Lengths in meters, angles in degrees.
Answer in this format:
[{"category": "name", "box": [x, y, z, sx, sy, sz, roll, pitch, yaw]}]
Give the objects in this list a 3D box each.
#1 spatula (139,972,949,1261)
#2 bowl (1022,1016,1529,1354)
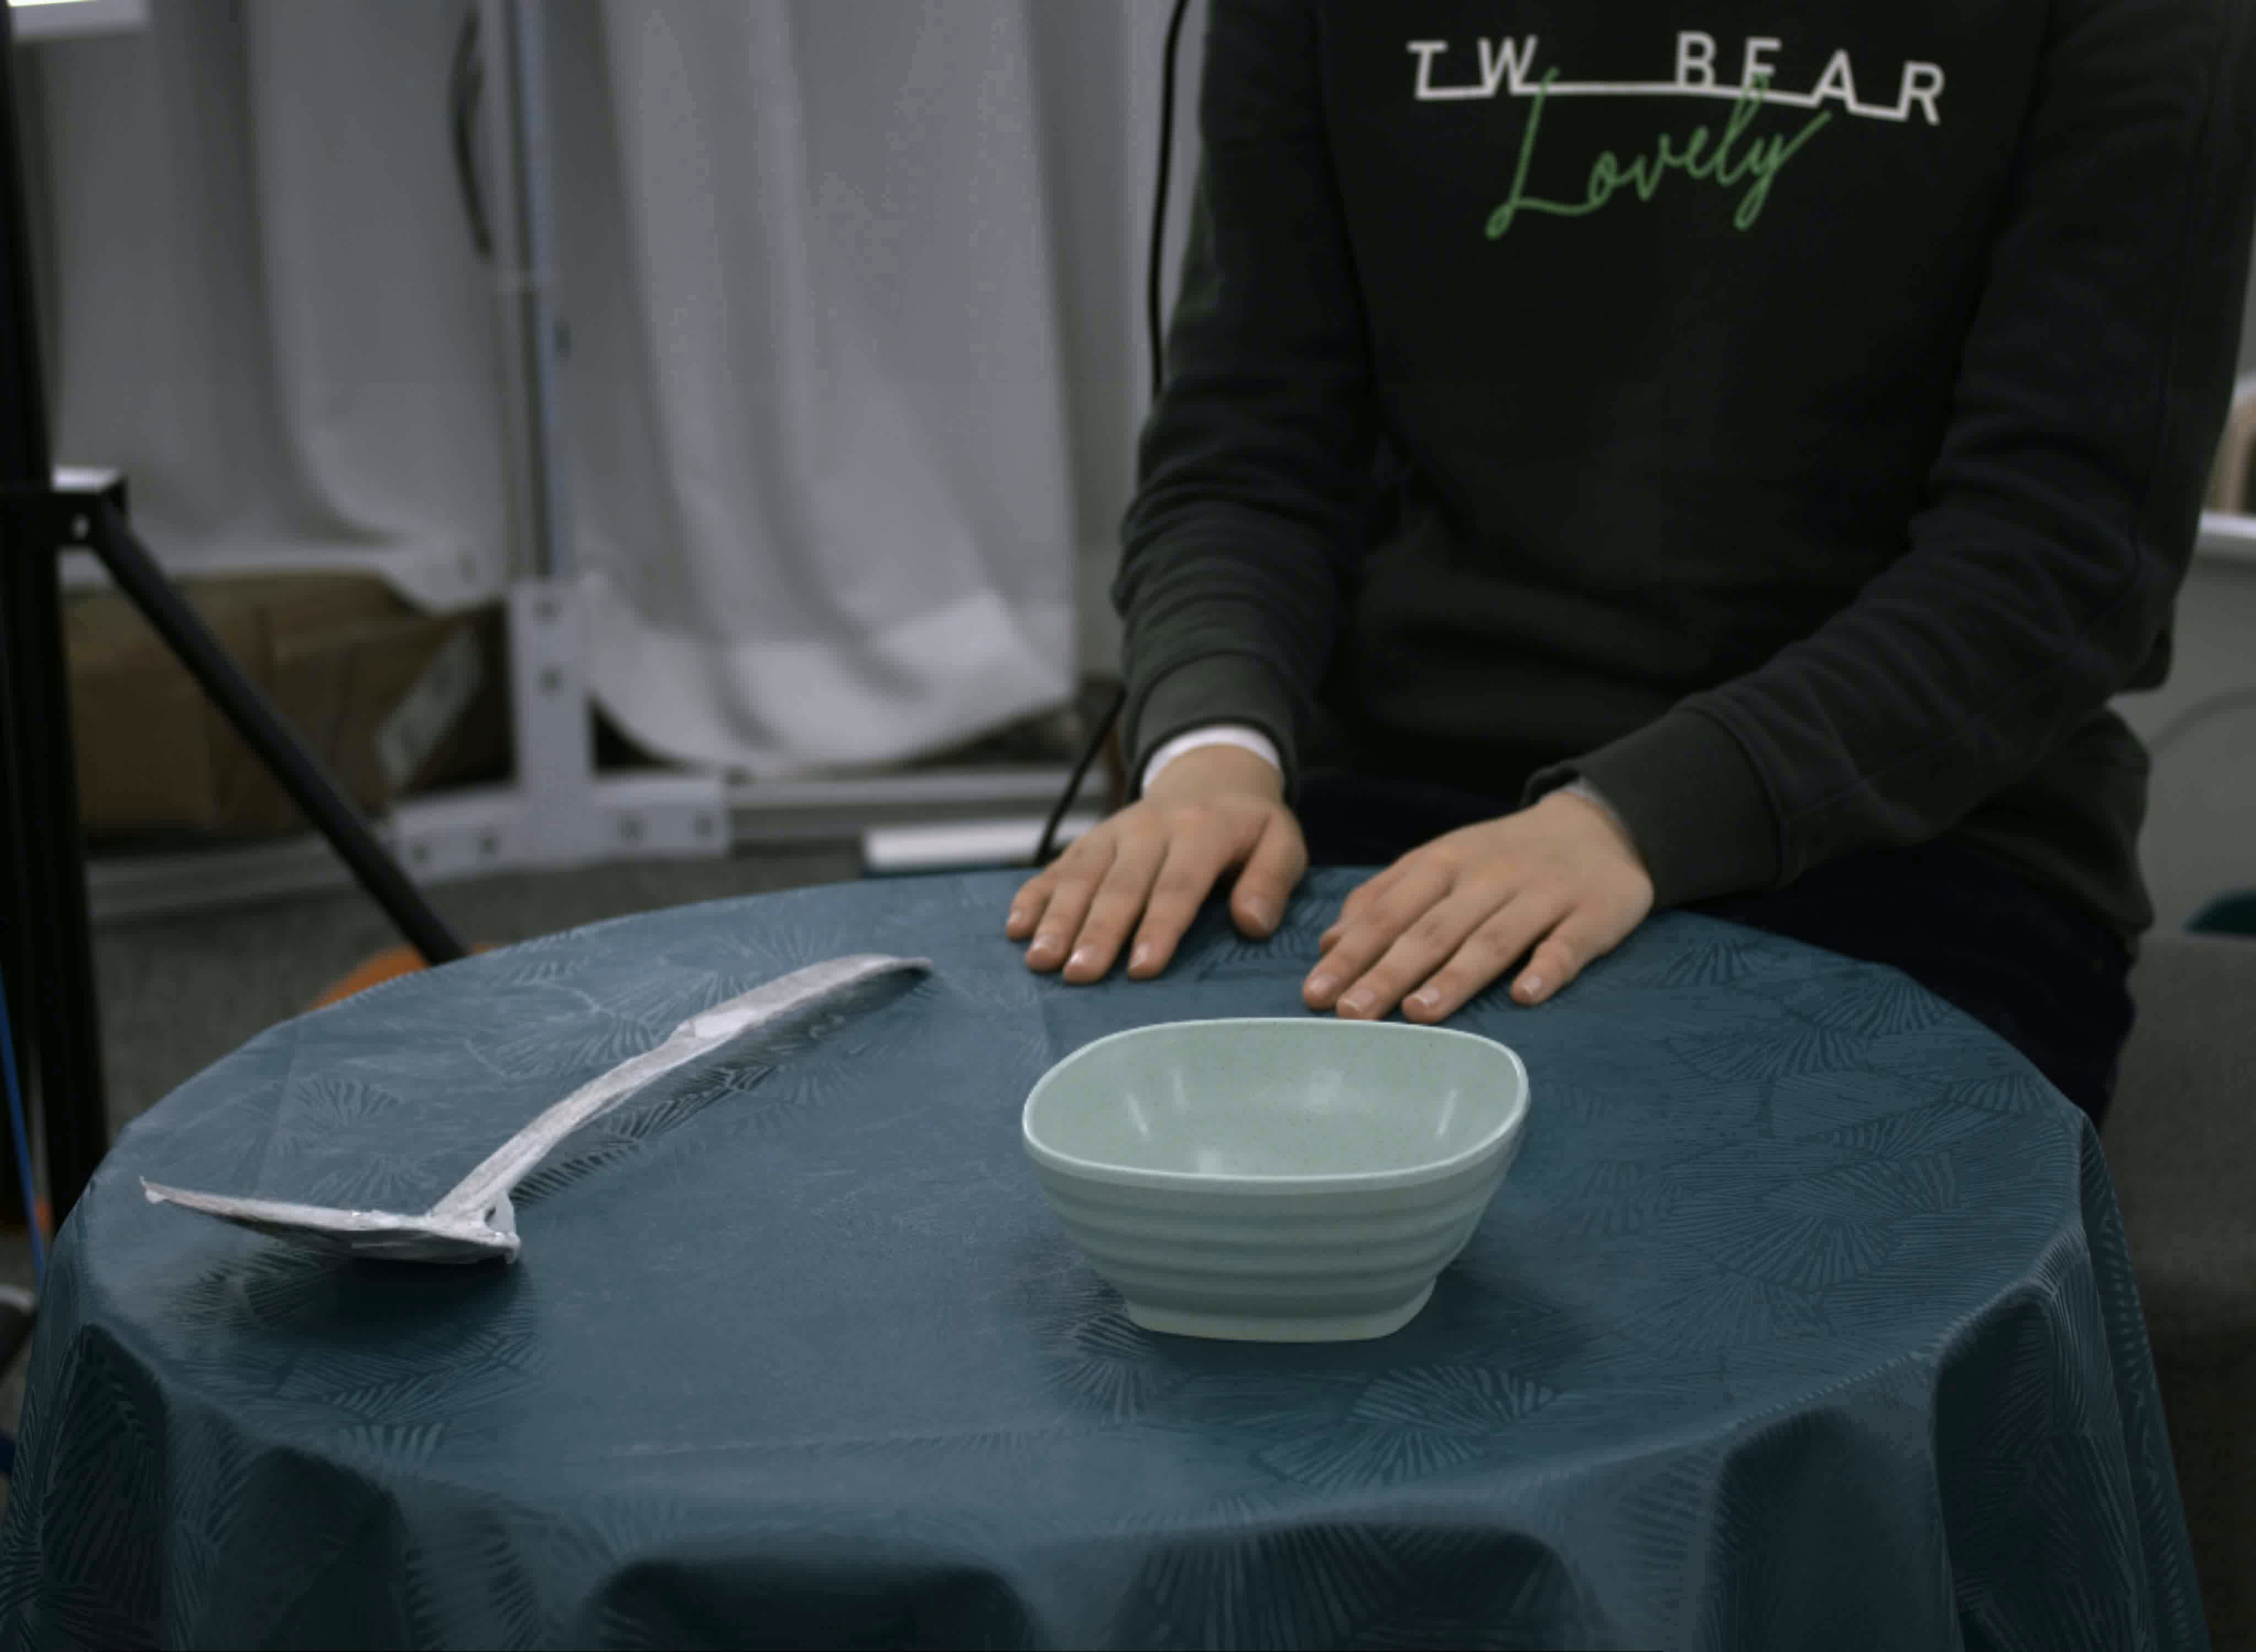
[{"category": "spatula", "box": [-0.156, 0.078, 1.618, 0.100, 0.045, 0.358, 4, 17, 29]}, {"category": "bowl", "box": [0.041, 0.103, 1.469, 0.150, 0.058, 0.152, 0, 17, -1]}]
